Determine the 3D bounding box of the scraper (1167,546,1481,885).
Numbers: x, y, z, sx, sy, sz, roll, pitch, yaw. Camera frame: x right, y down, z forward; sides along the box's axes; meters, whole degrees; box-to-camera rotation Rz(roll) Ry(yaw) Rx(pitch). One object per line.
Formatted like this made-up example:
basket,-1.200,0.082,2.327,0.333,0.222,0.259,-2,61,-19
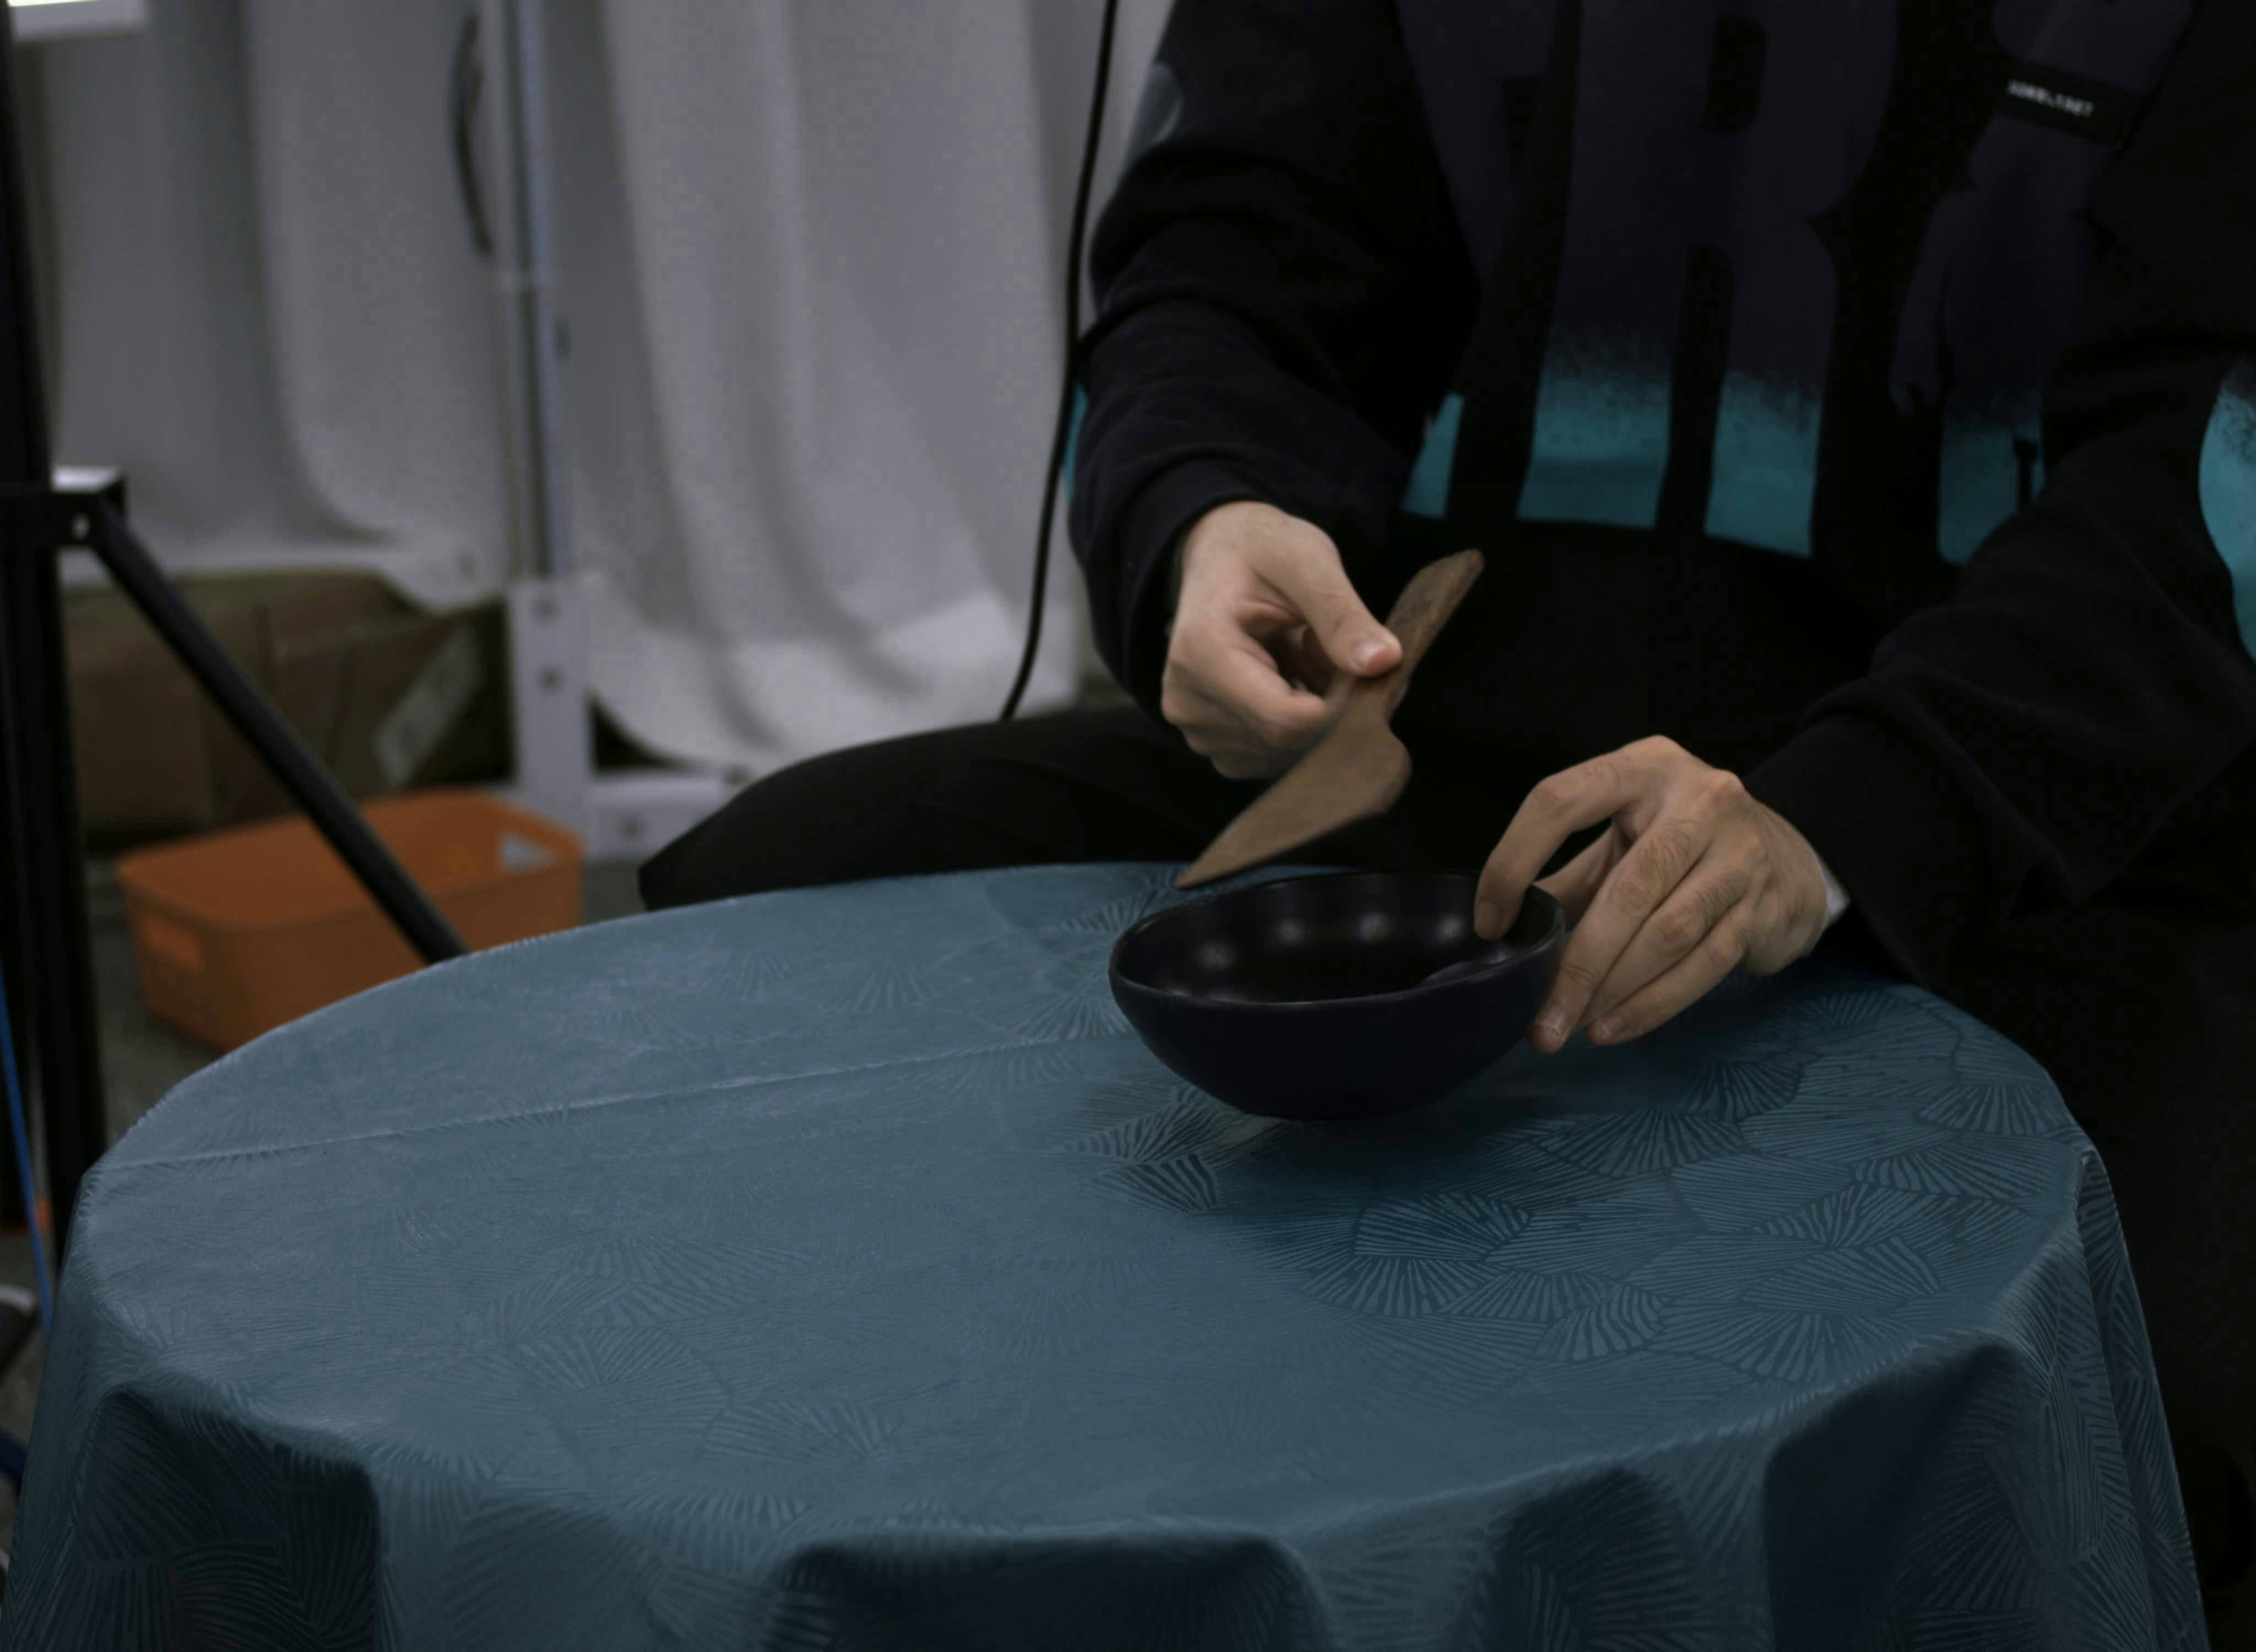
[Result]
scraper,0.073,-0.038,1.663,0.077,0.011,0.210,-22,19,30

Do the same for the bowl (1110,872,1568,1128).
bowl,0.066,0.057,1.599,0.139,0.050,0.140,-9,13,1
